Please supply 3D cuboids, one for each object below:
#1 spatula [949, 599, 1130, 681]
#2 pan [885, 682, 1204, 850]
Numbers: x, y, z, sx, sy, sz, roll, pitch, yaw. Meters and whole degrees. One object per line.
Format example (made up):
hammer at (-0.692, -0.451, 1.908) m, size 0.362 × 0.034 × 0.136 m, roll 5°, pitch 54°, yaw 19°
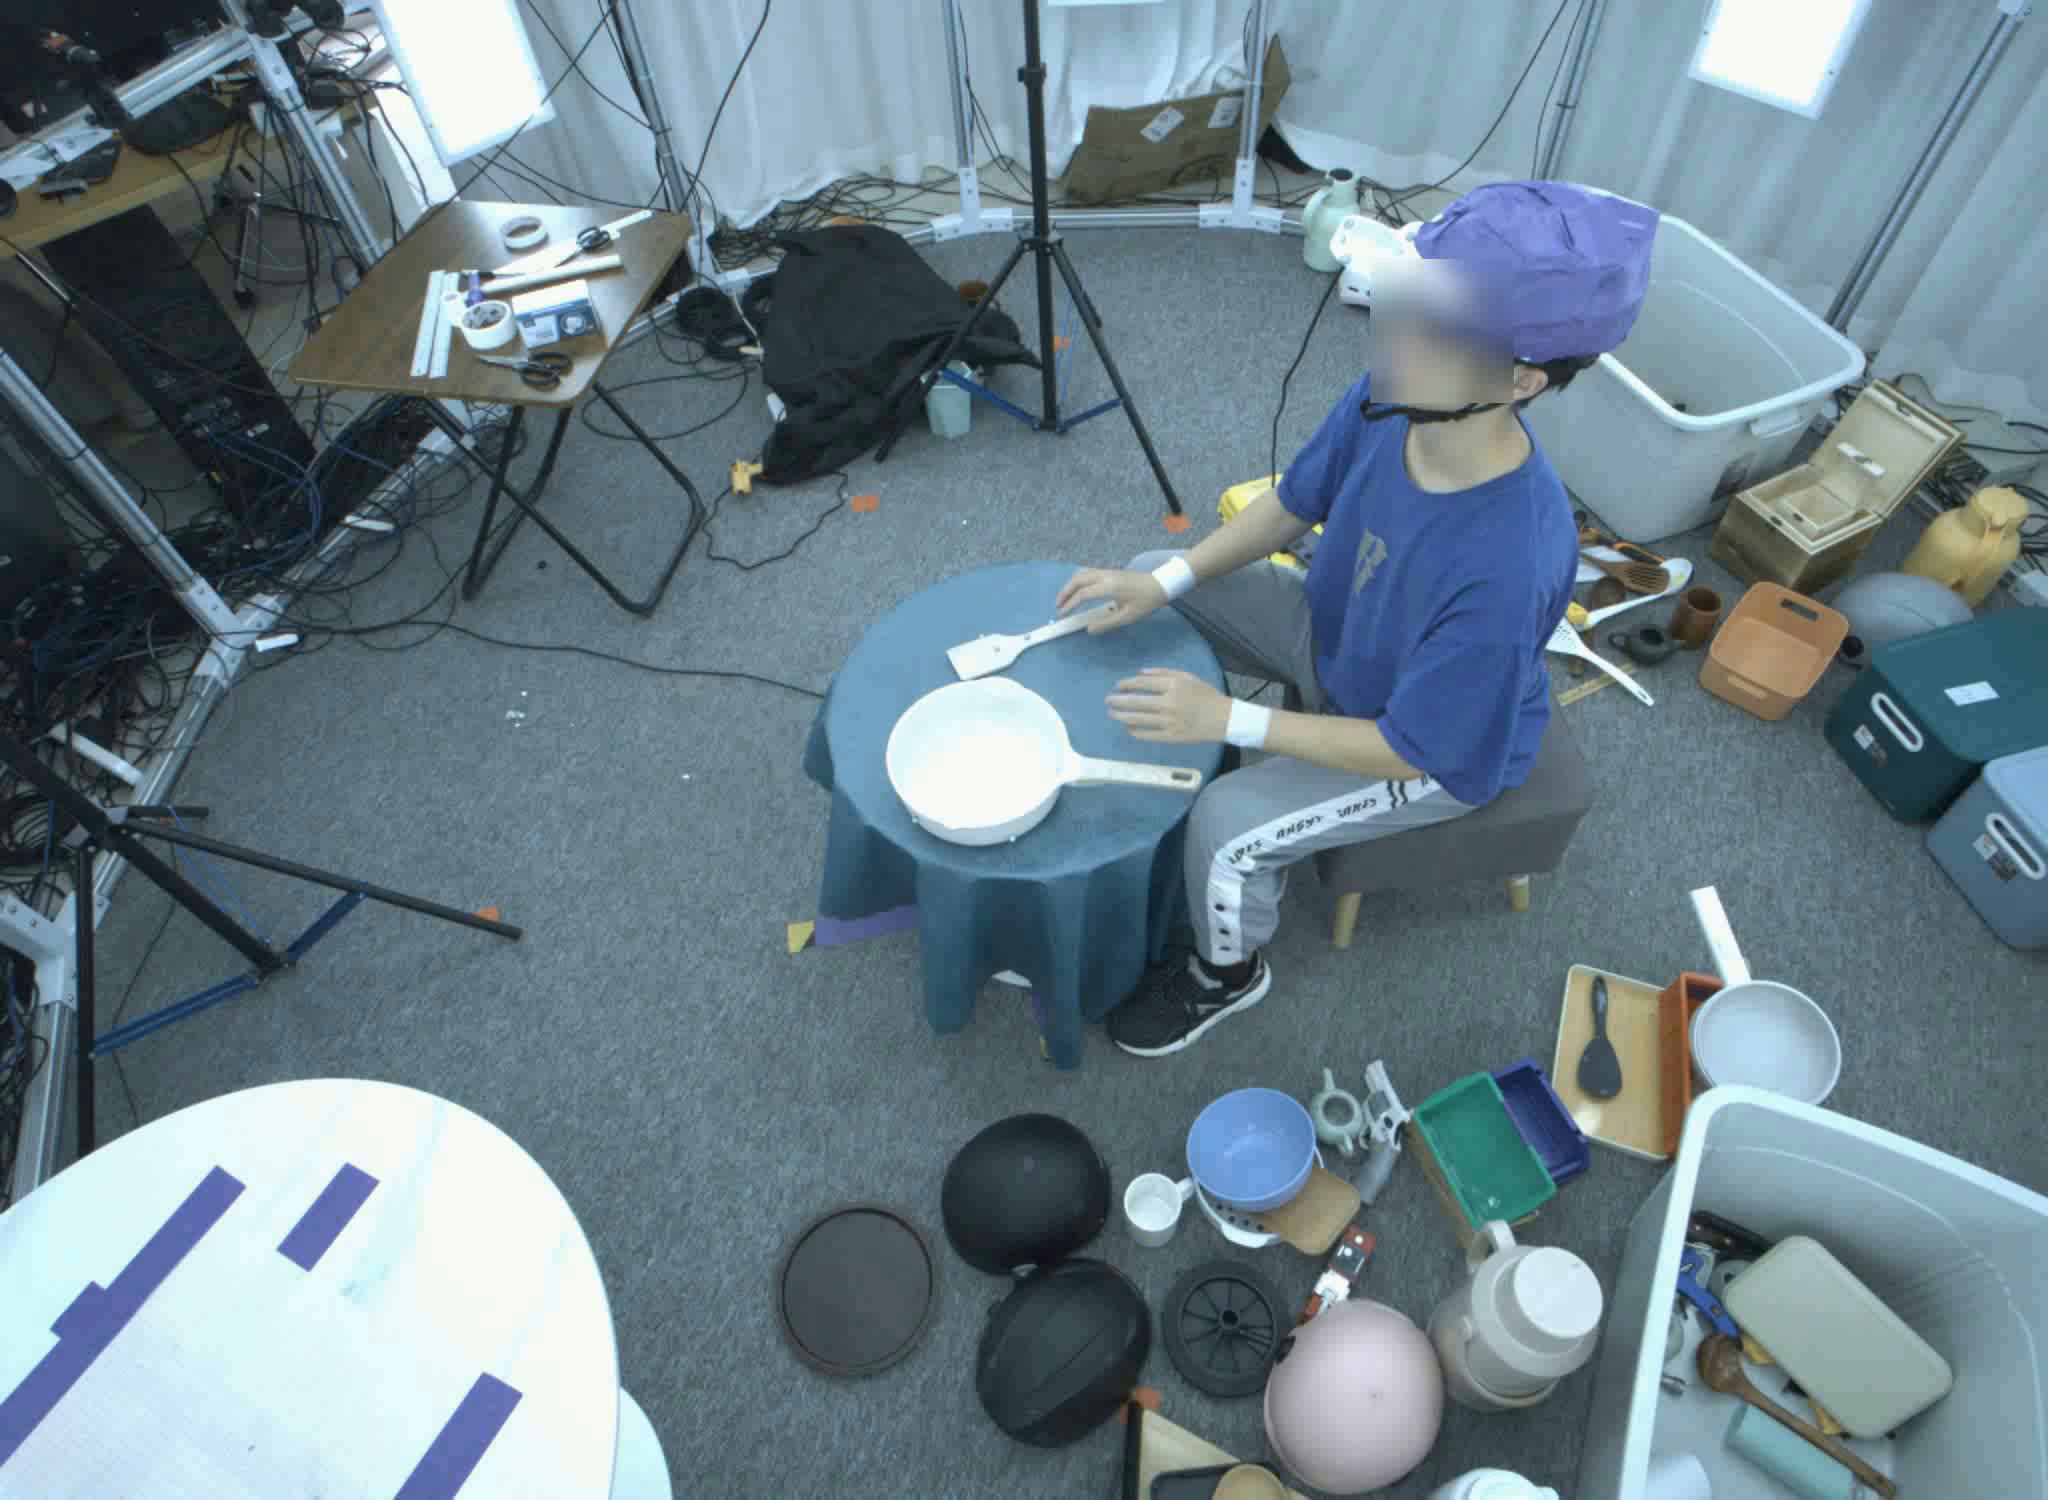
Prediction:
spatula at (0.029, -0.179, 1.899) m, size 0.295 × 0.011 × 0.071 m, roll -21°, pitch 55°, yaw -12°
pan at (0.026, 0.038, 1.689) m, size 0.432 × 0.103 × 0.262 m, roll 9°, pitch 53°, yaw 8°
